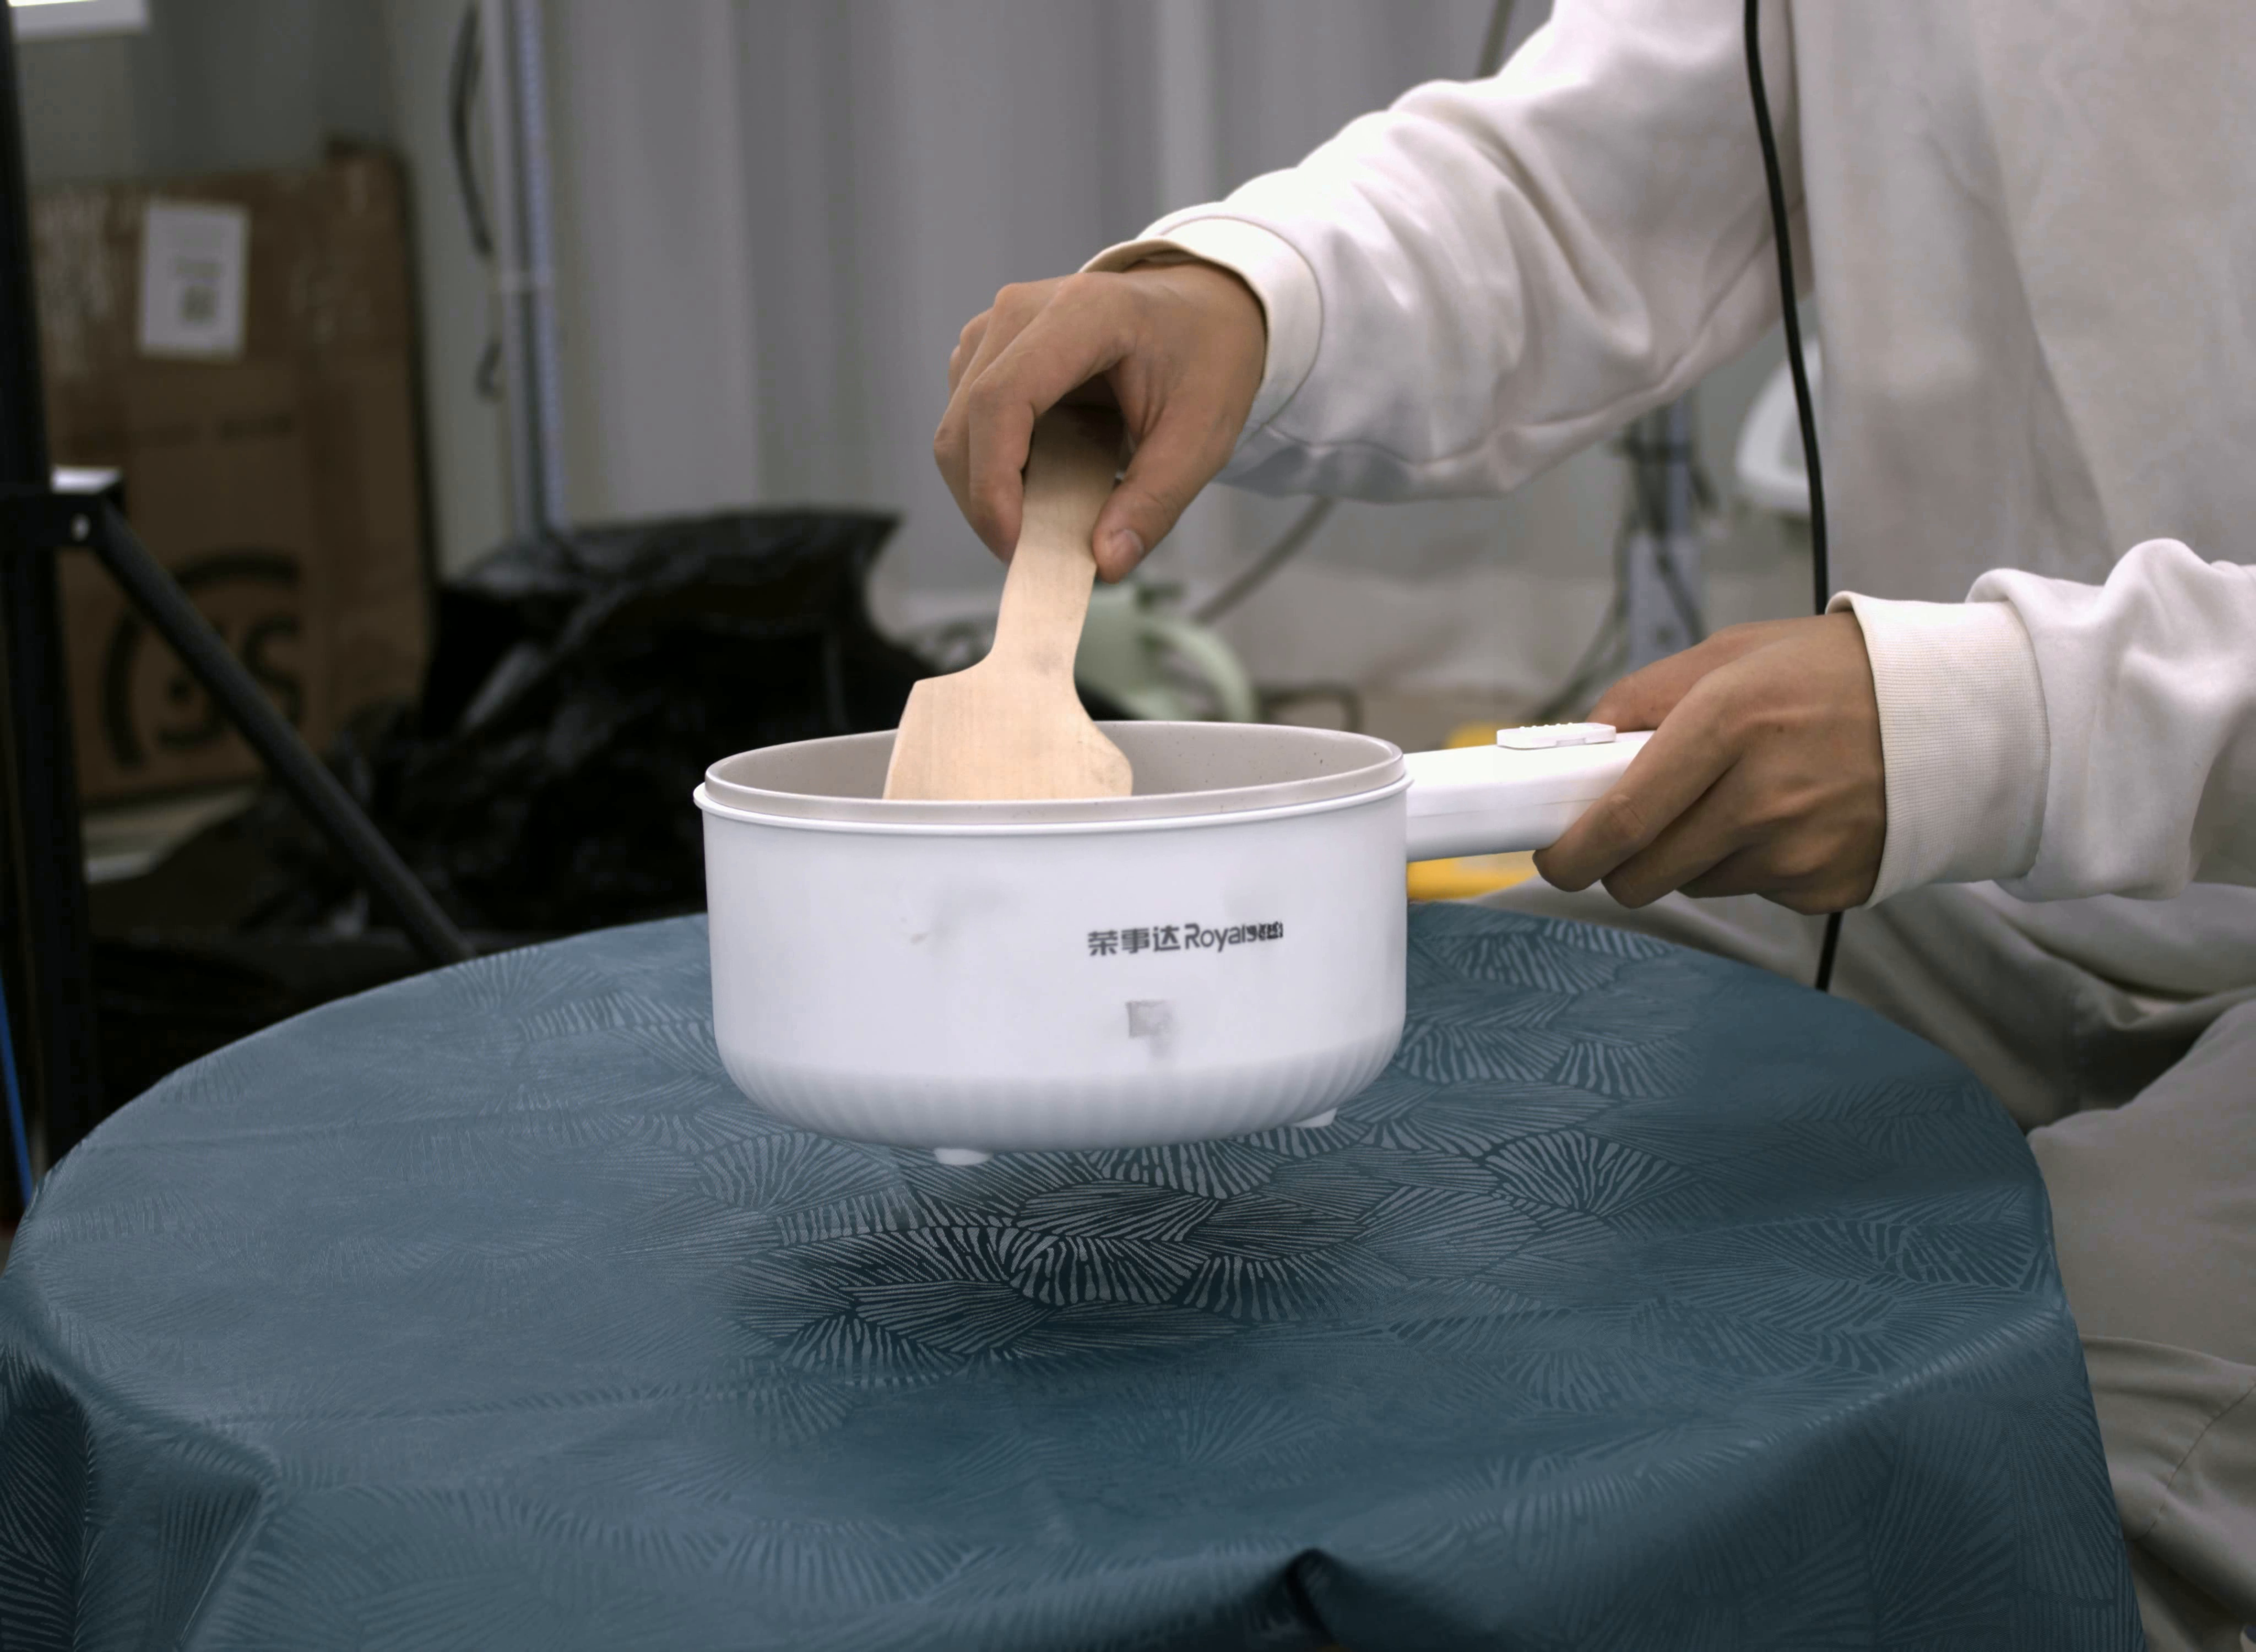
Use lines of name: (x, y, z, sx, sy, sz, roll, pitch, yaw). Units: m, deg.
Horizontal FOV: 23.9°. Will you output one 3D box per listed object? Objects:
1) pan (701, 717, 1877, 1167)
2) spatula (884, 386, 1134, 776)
pan: (0.052, 0.028, 1.514, 0.347, 0.102, 0.204, -4, 6, -22)
spatula: (-0.026, -0.062, 1.585, 0.071, 0.011, 0.294, 19, 30, -6)
